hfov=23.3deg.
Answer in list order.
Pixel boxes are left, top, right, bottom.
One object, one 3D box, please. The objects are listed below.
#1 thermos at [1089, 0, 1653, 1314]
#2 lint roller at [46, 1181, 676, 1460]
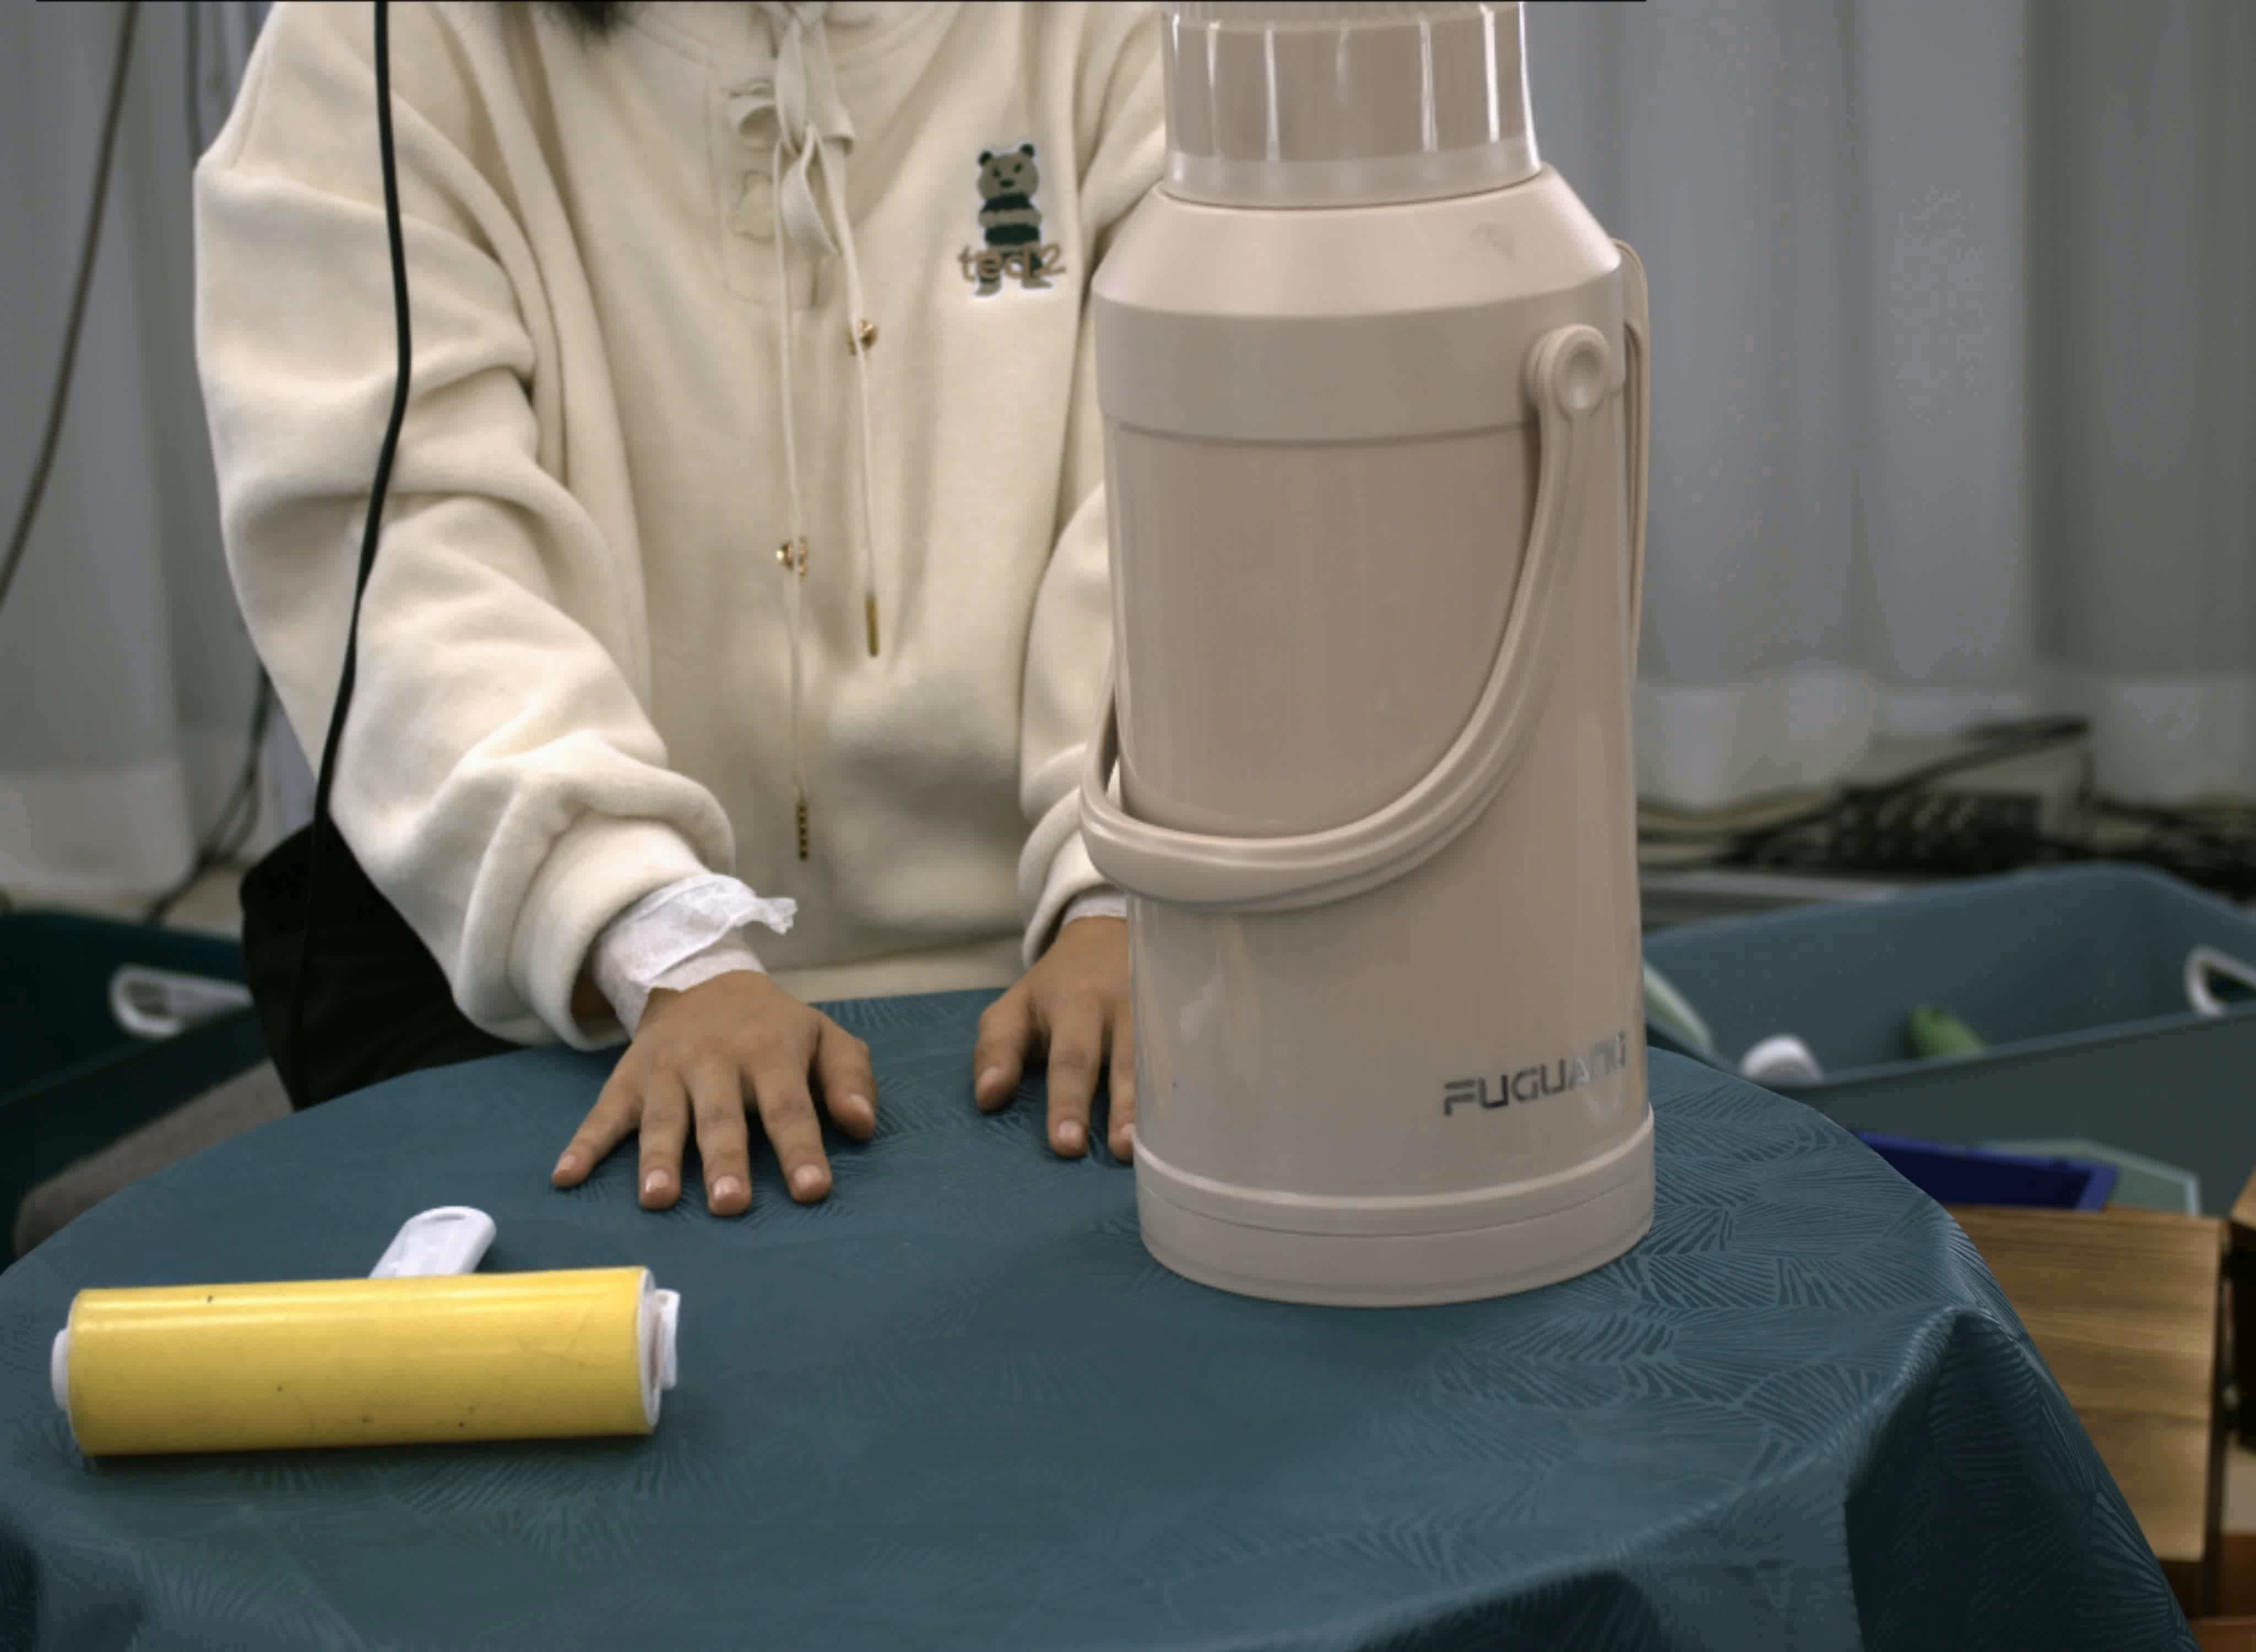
[{"bbox_3d":[0.082,-0.072,1.636,0.206,0.405,0.176,-15,18,-42],"label":"thermos"},{"bbox_3d":[-0.214,0.129,1.597,0.174,0.051,0.194,-2,20,1],"label":"lint roller"}]
